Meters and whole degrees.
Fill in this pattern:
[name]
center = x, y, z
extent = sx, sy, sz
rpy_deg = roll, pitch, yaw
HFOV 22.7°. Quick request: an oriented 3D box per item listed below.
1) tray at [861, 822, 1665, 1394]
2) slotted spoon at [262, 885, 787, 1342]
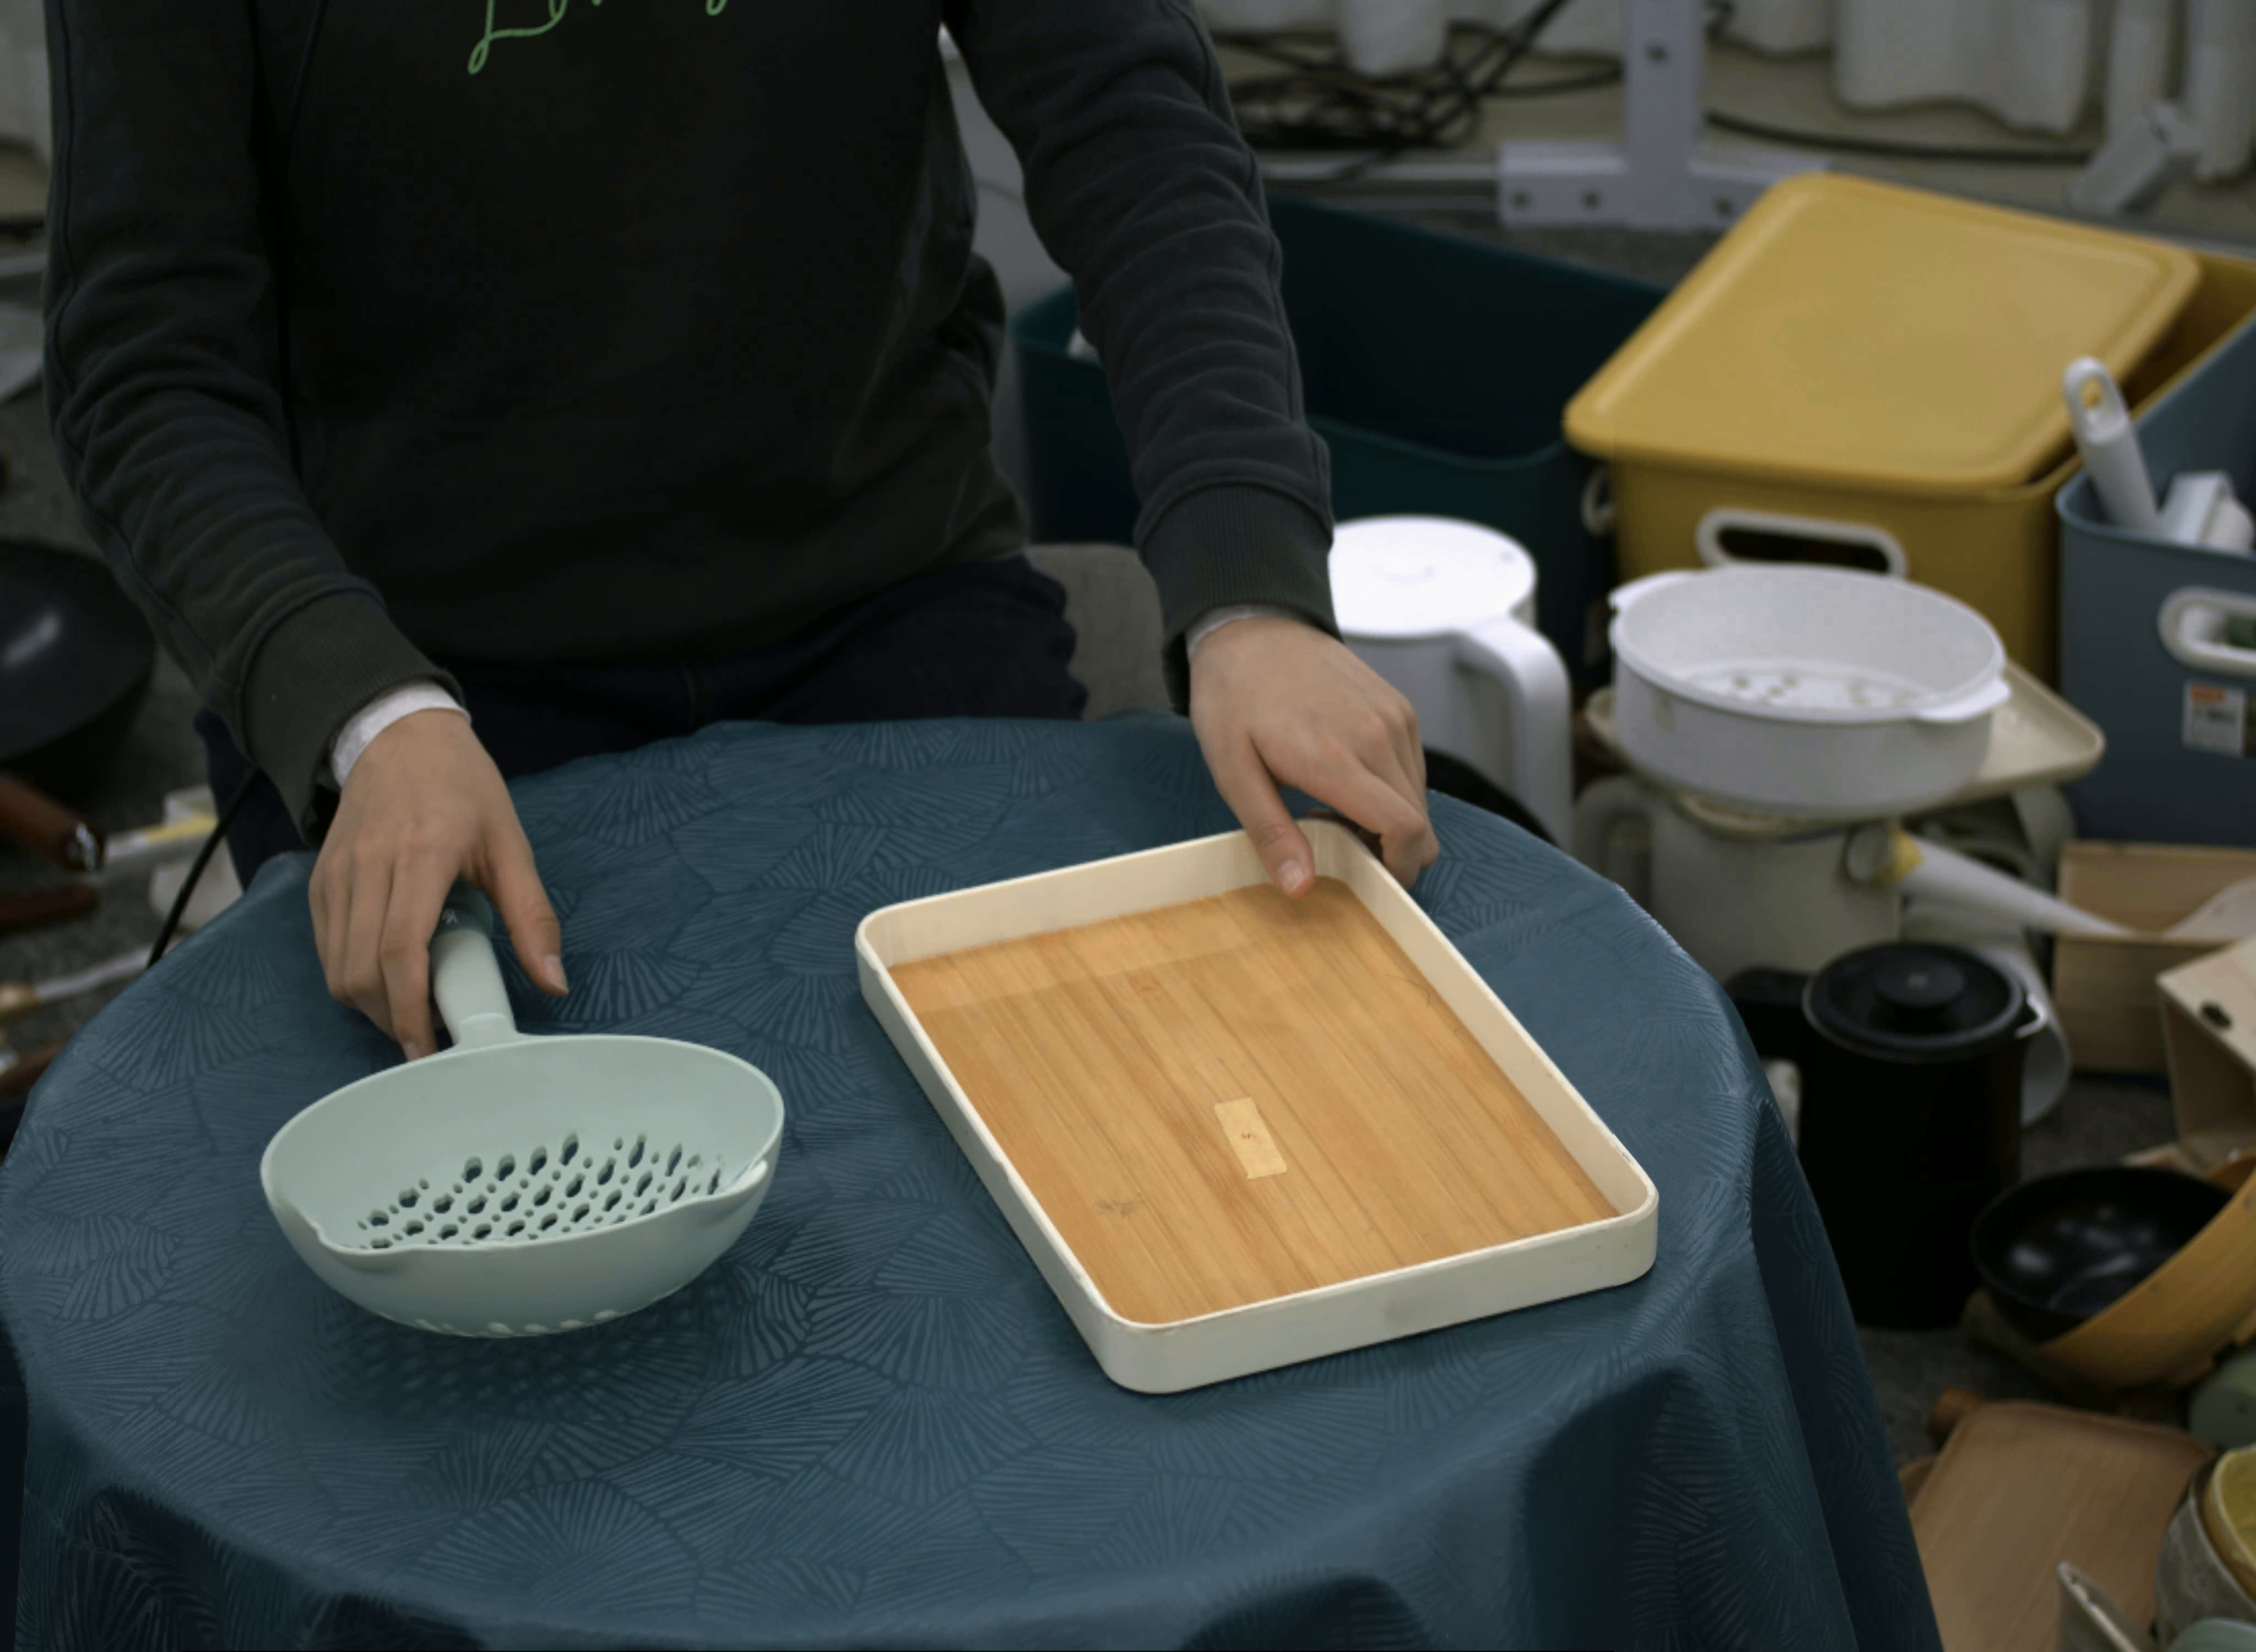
[tray]
center = 0.039, 0.089, 1.893
extent = 0.192, 0.027, 0.303
rpy_deg = -11, 29, -16
[slotted spoon]
center = -0.213, 0.081, 1.892
extent = 0.169, 0.074, 0.363
rpy_deg = -8, 28, -11
